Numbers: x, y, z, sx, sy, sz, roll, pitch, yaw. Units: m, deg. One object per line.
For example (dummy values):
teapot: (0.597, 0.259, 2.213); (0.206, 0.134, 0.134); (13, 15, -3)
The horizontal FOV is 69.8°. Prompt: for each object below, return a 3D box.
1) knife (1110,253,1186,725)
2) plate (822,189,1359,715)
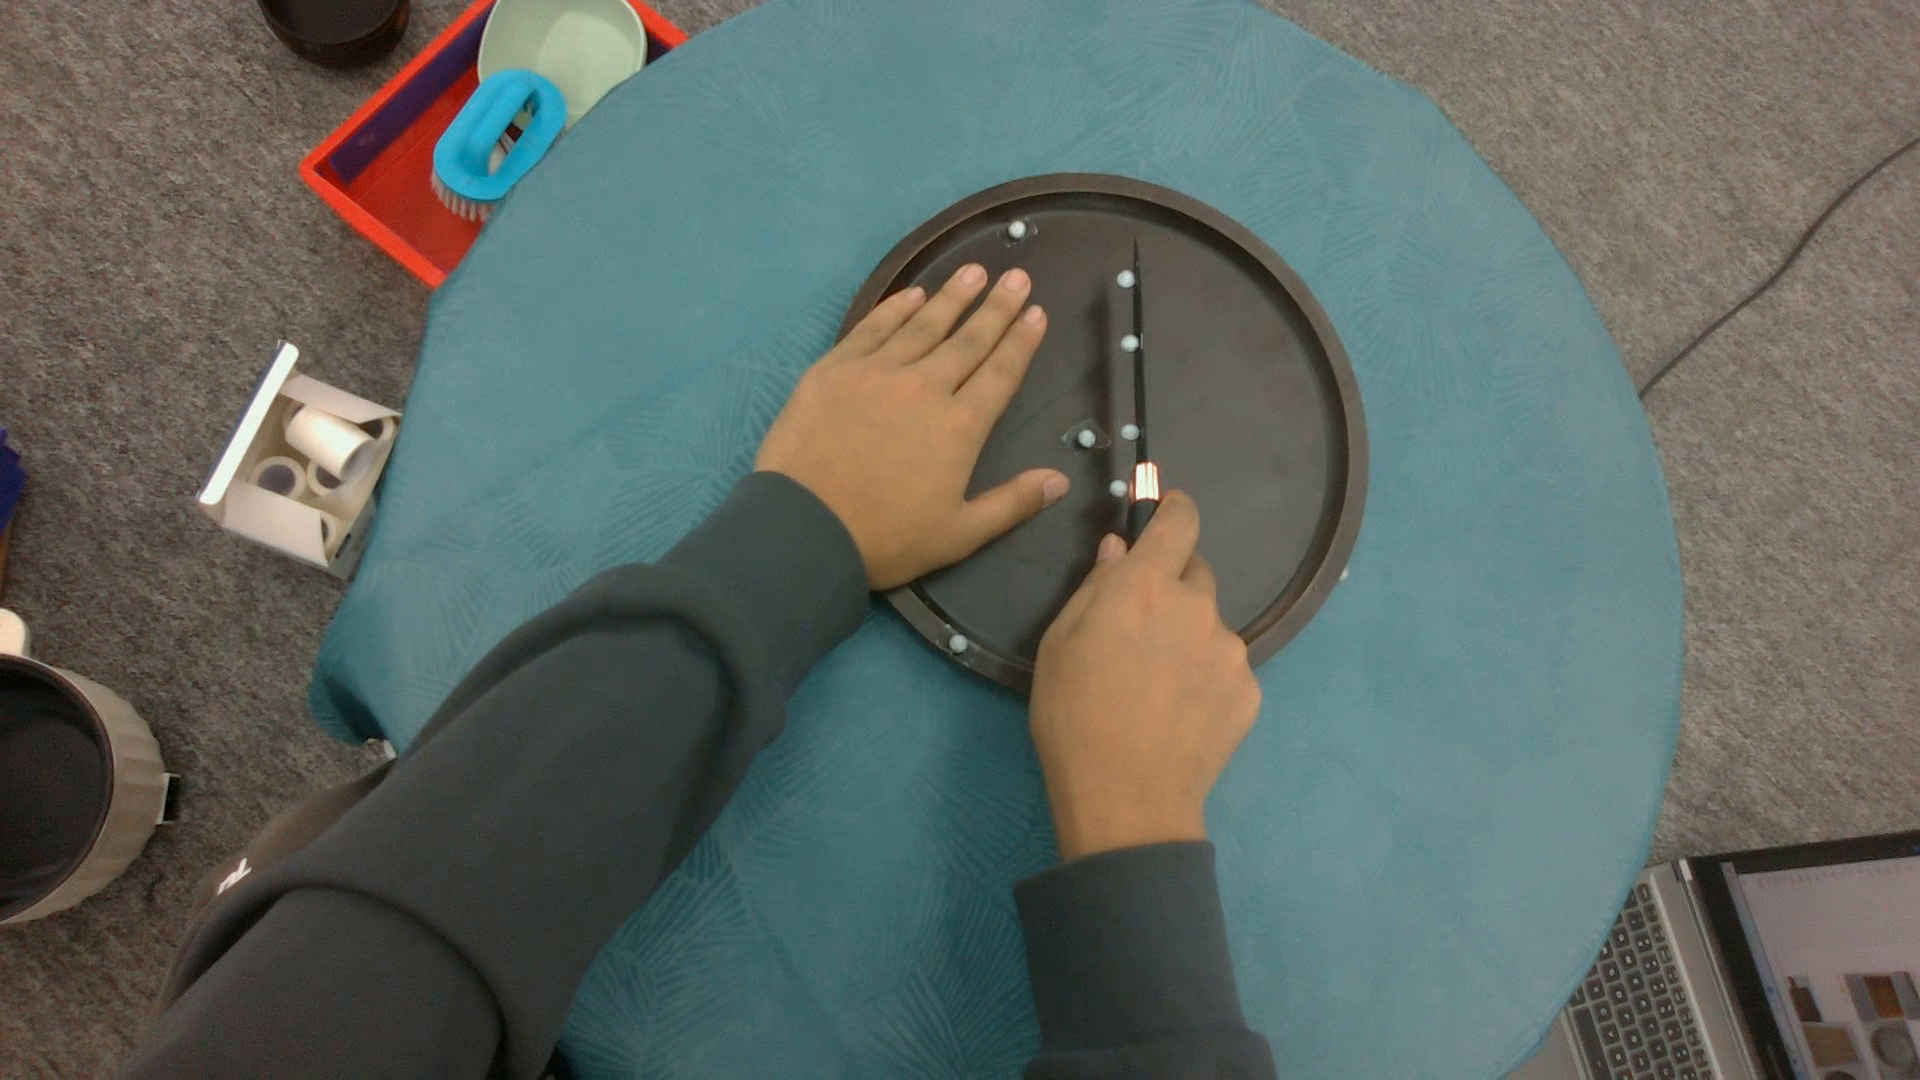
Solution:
knife: (0.081, -0.029, 0.611); (0.017, 0.026, 0.226); (-4, 73, 0)
plate: (0.062, -0.045, 0.639); (0.255, 0.029, 0.255); (2, 77, -8)
